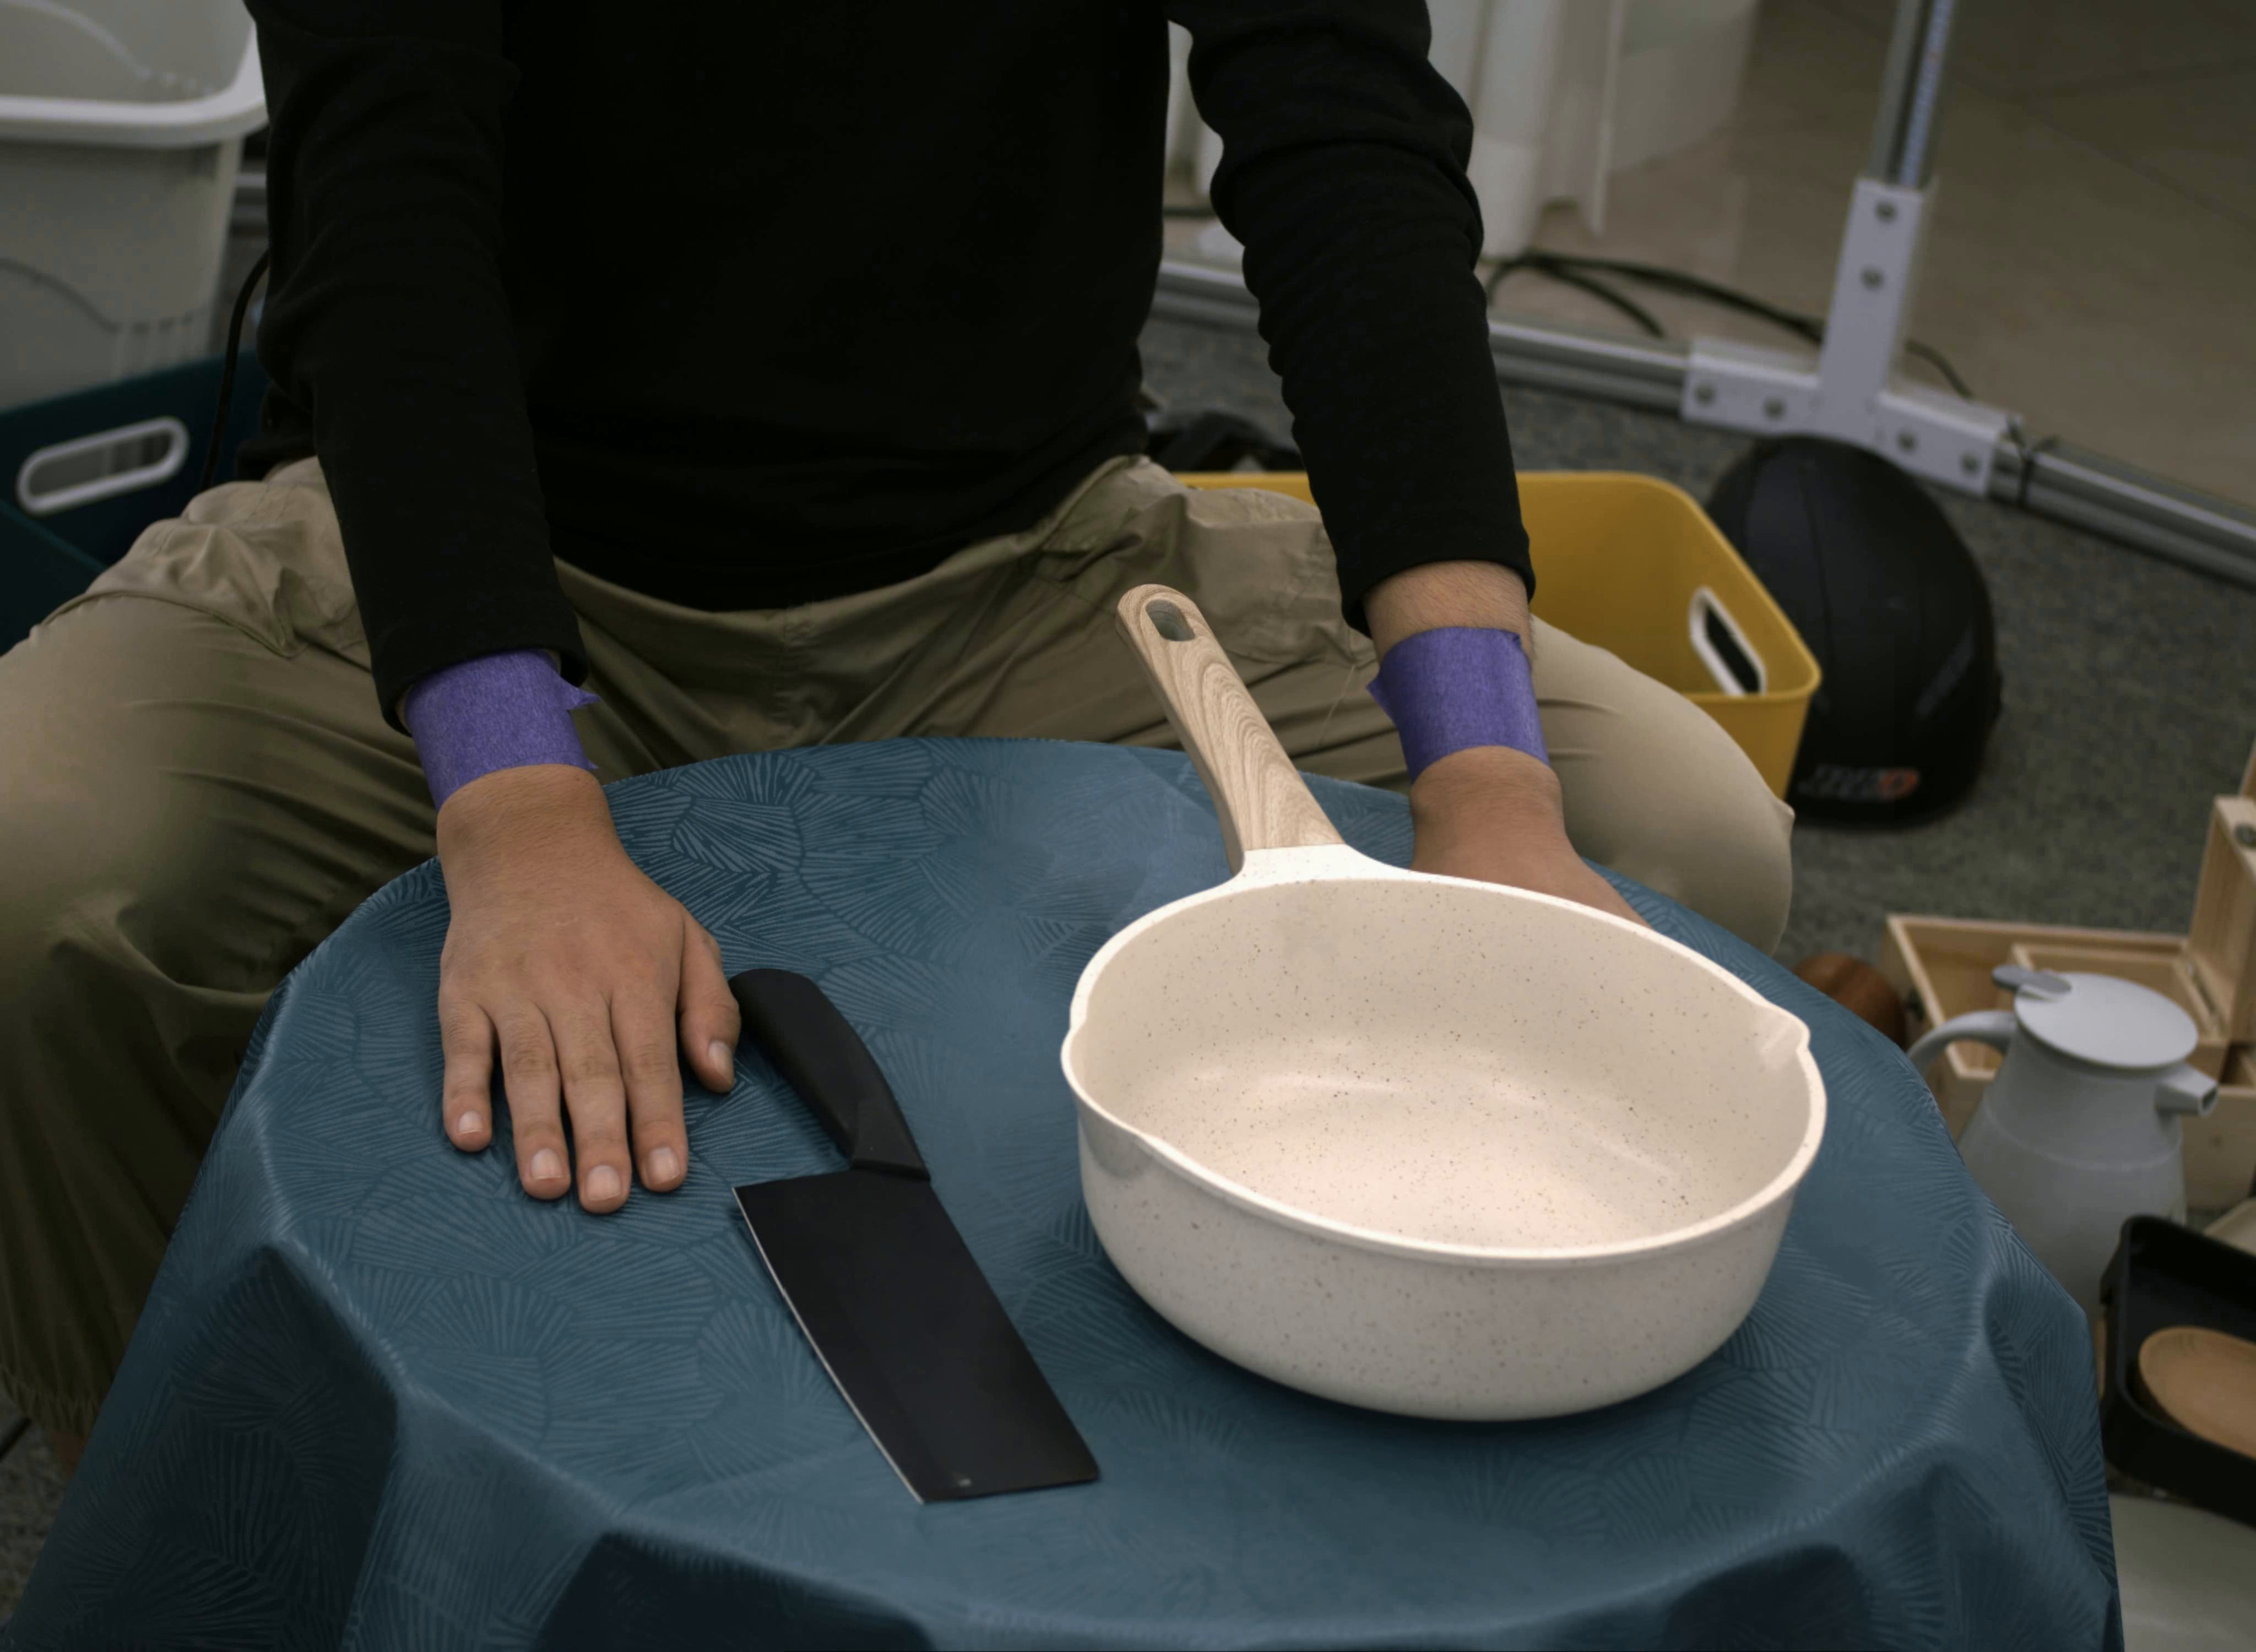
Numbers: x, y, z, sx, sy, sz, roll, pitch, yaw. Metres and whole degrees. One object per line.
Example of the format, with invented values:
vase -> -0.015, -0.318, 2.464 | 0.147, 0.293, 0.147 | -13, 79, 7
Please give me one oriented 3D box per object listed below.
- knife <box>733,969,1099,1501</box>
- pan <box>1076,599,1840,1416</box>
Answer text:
knife -> -0.085, 0.131, 1.757 | 0.080, 0.021, 0.305 | -3, 30, -16
pan -> 0.075, 0.059, 1.840 | 0.262, 0.101, 0.439 | -6, 29, -19
